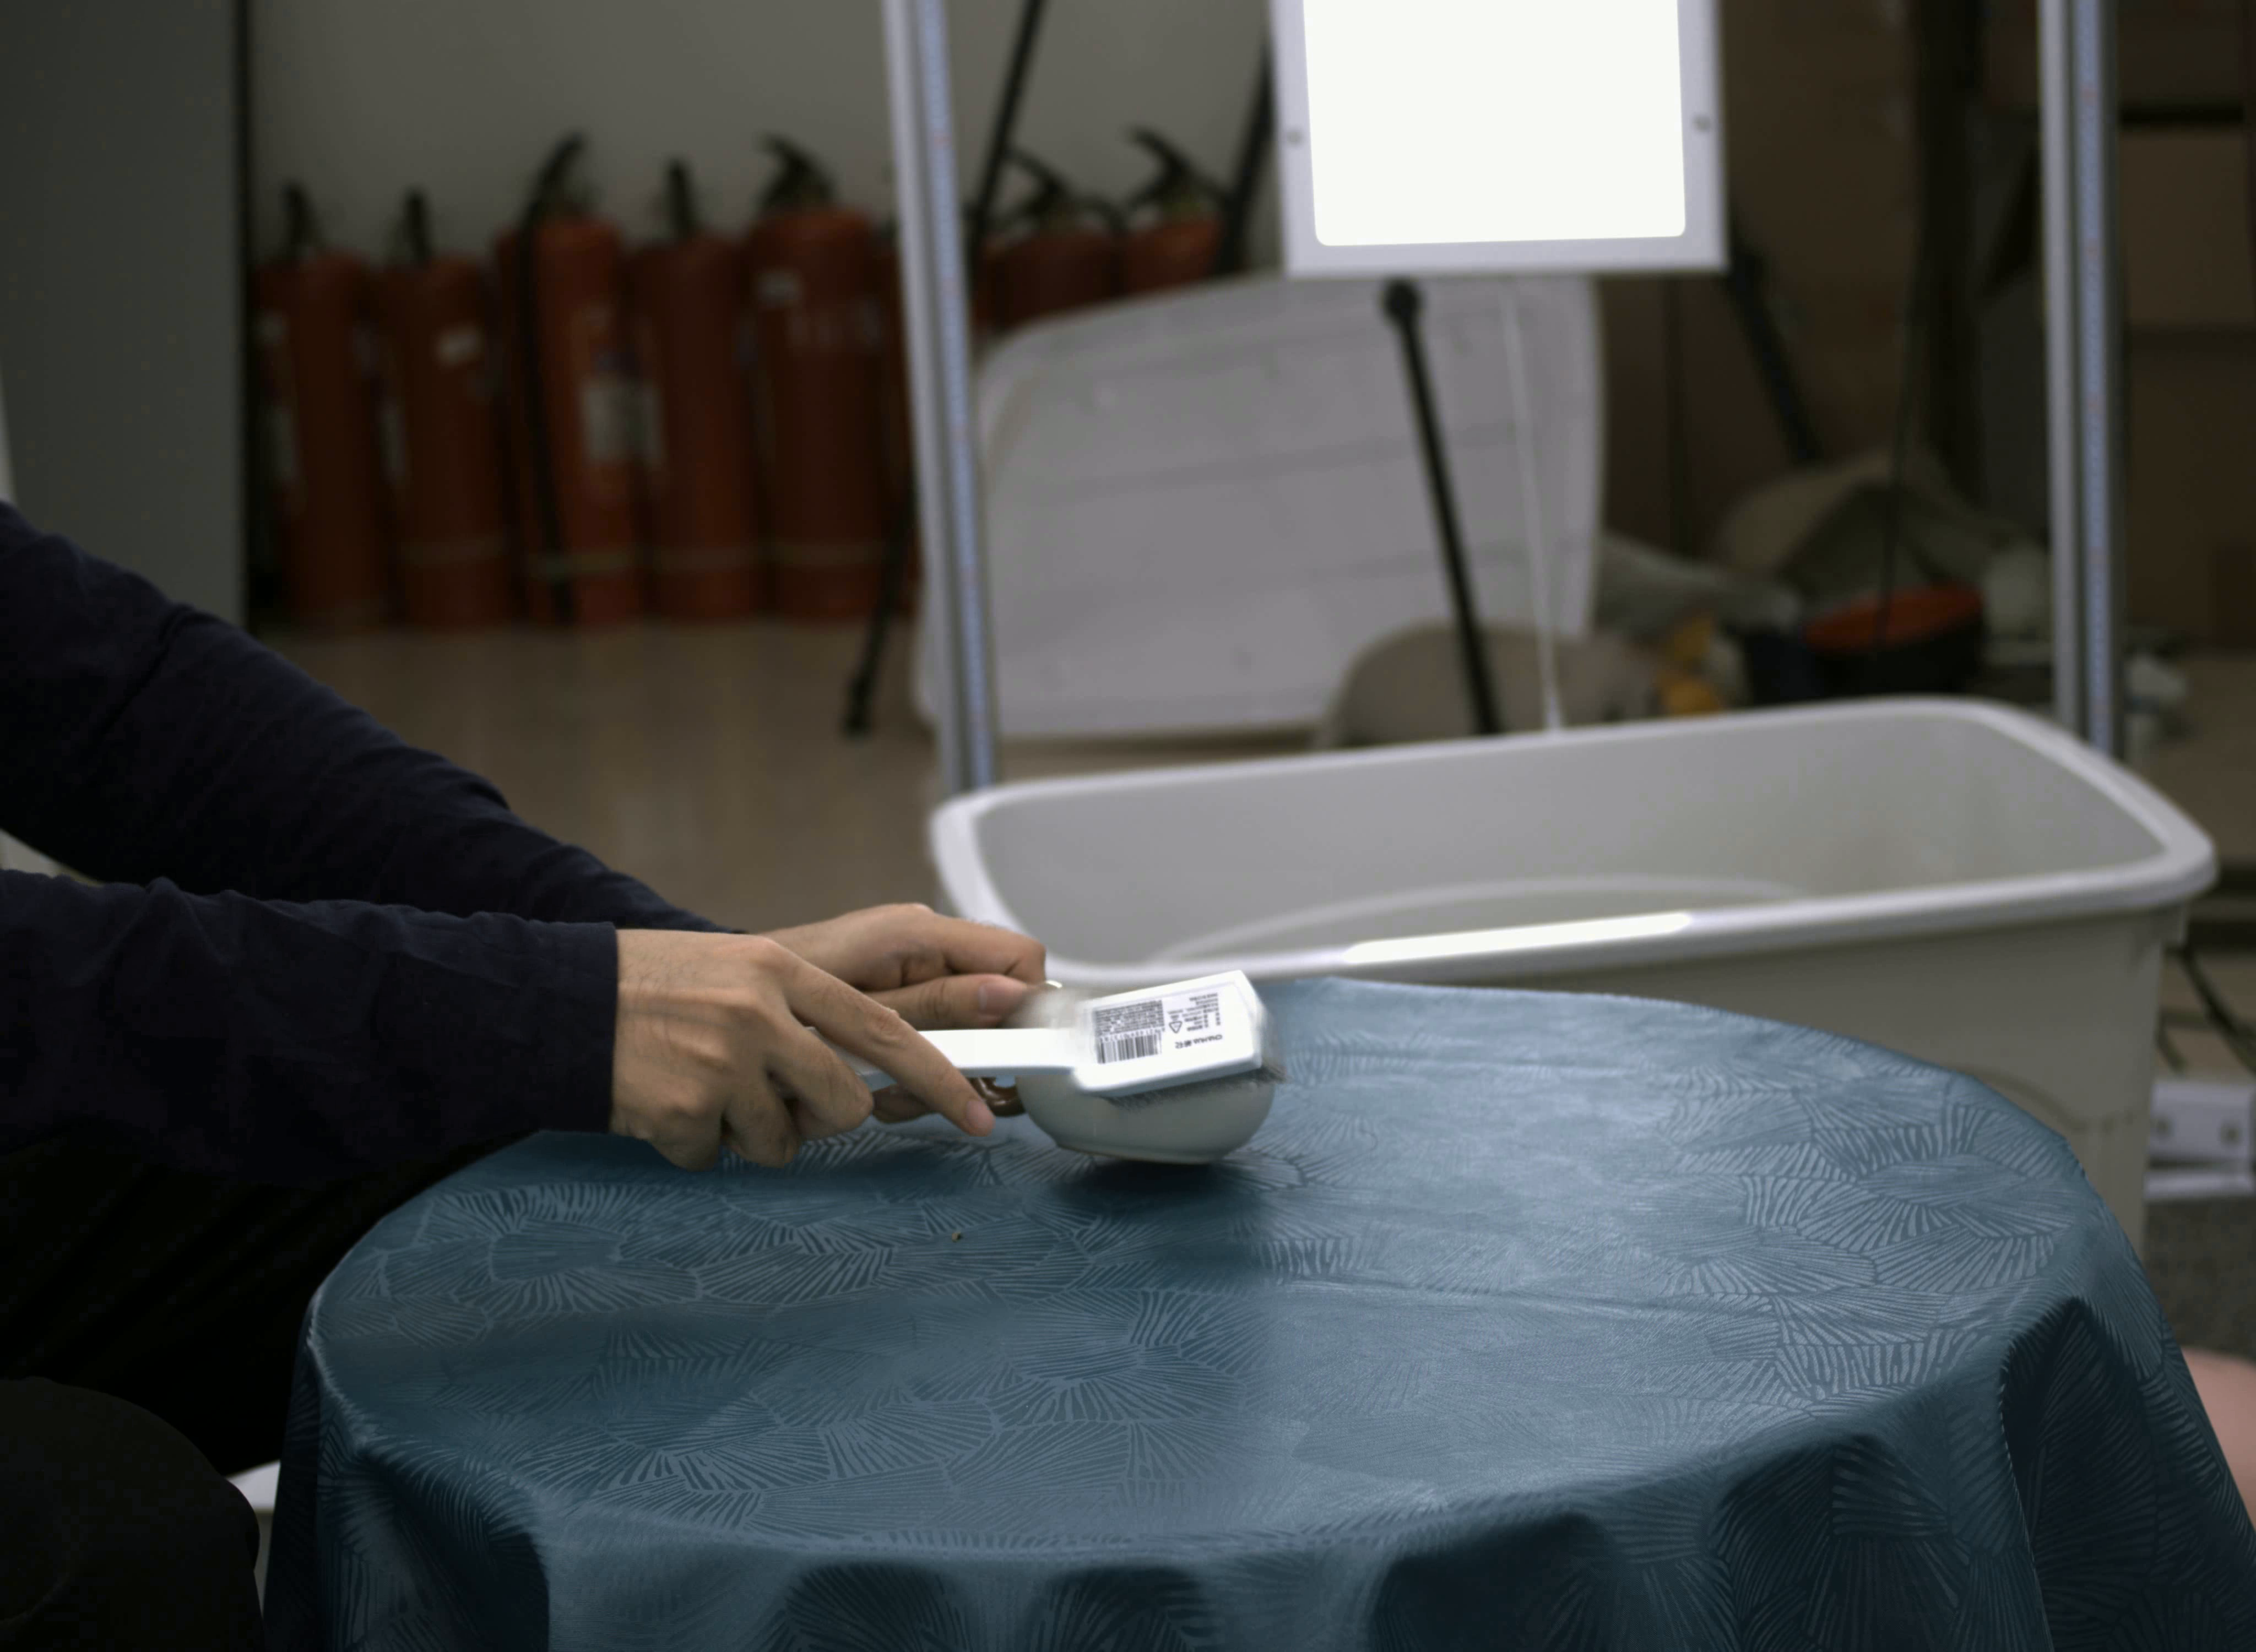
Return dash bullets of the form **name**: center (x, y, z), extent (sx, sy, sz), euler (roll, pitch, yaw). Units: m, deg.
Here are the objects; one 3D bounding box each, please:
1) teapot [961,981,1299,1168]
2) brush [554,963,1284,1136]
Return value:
- **teapot**: center (-0.001, 0.086, 1.919), extent (0.130, 0.060, 0.090), euler (6, 3, 26)
- **brush**: center (-0.068, 0.081, 1.824), extent (0.242, 0.034, 0.050), euler (-8, -19, -3)
